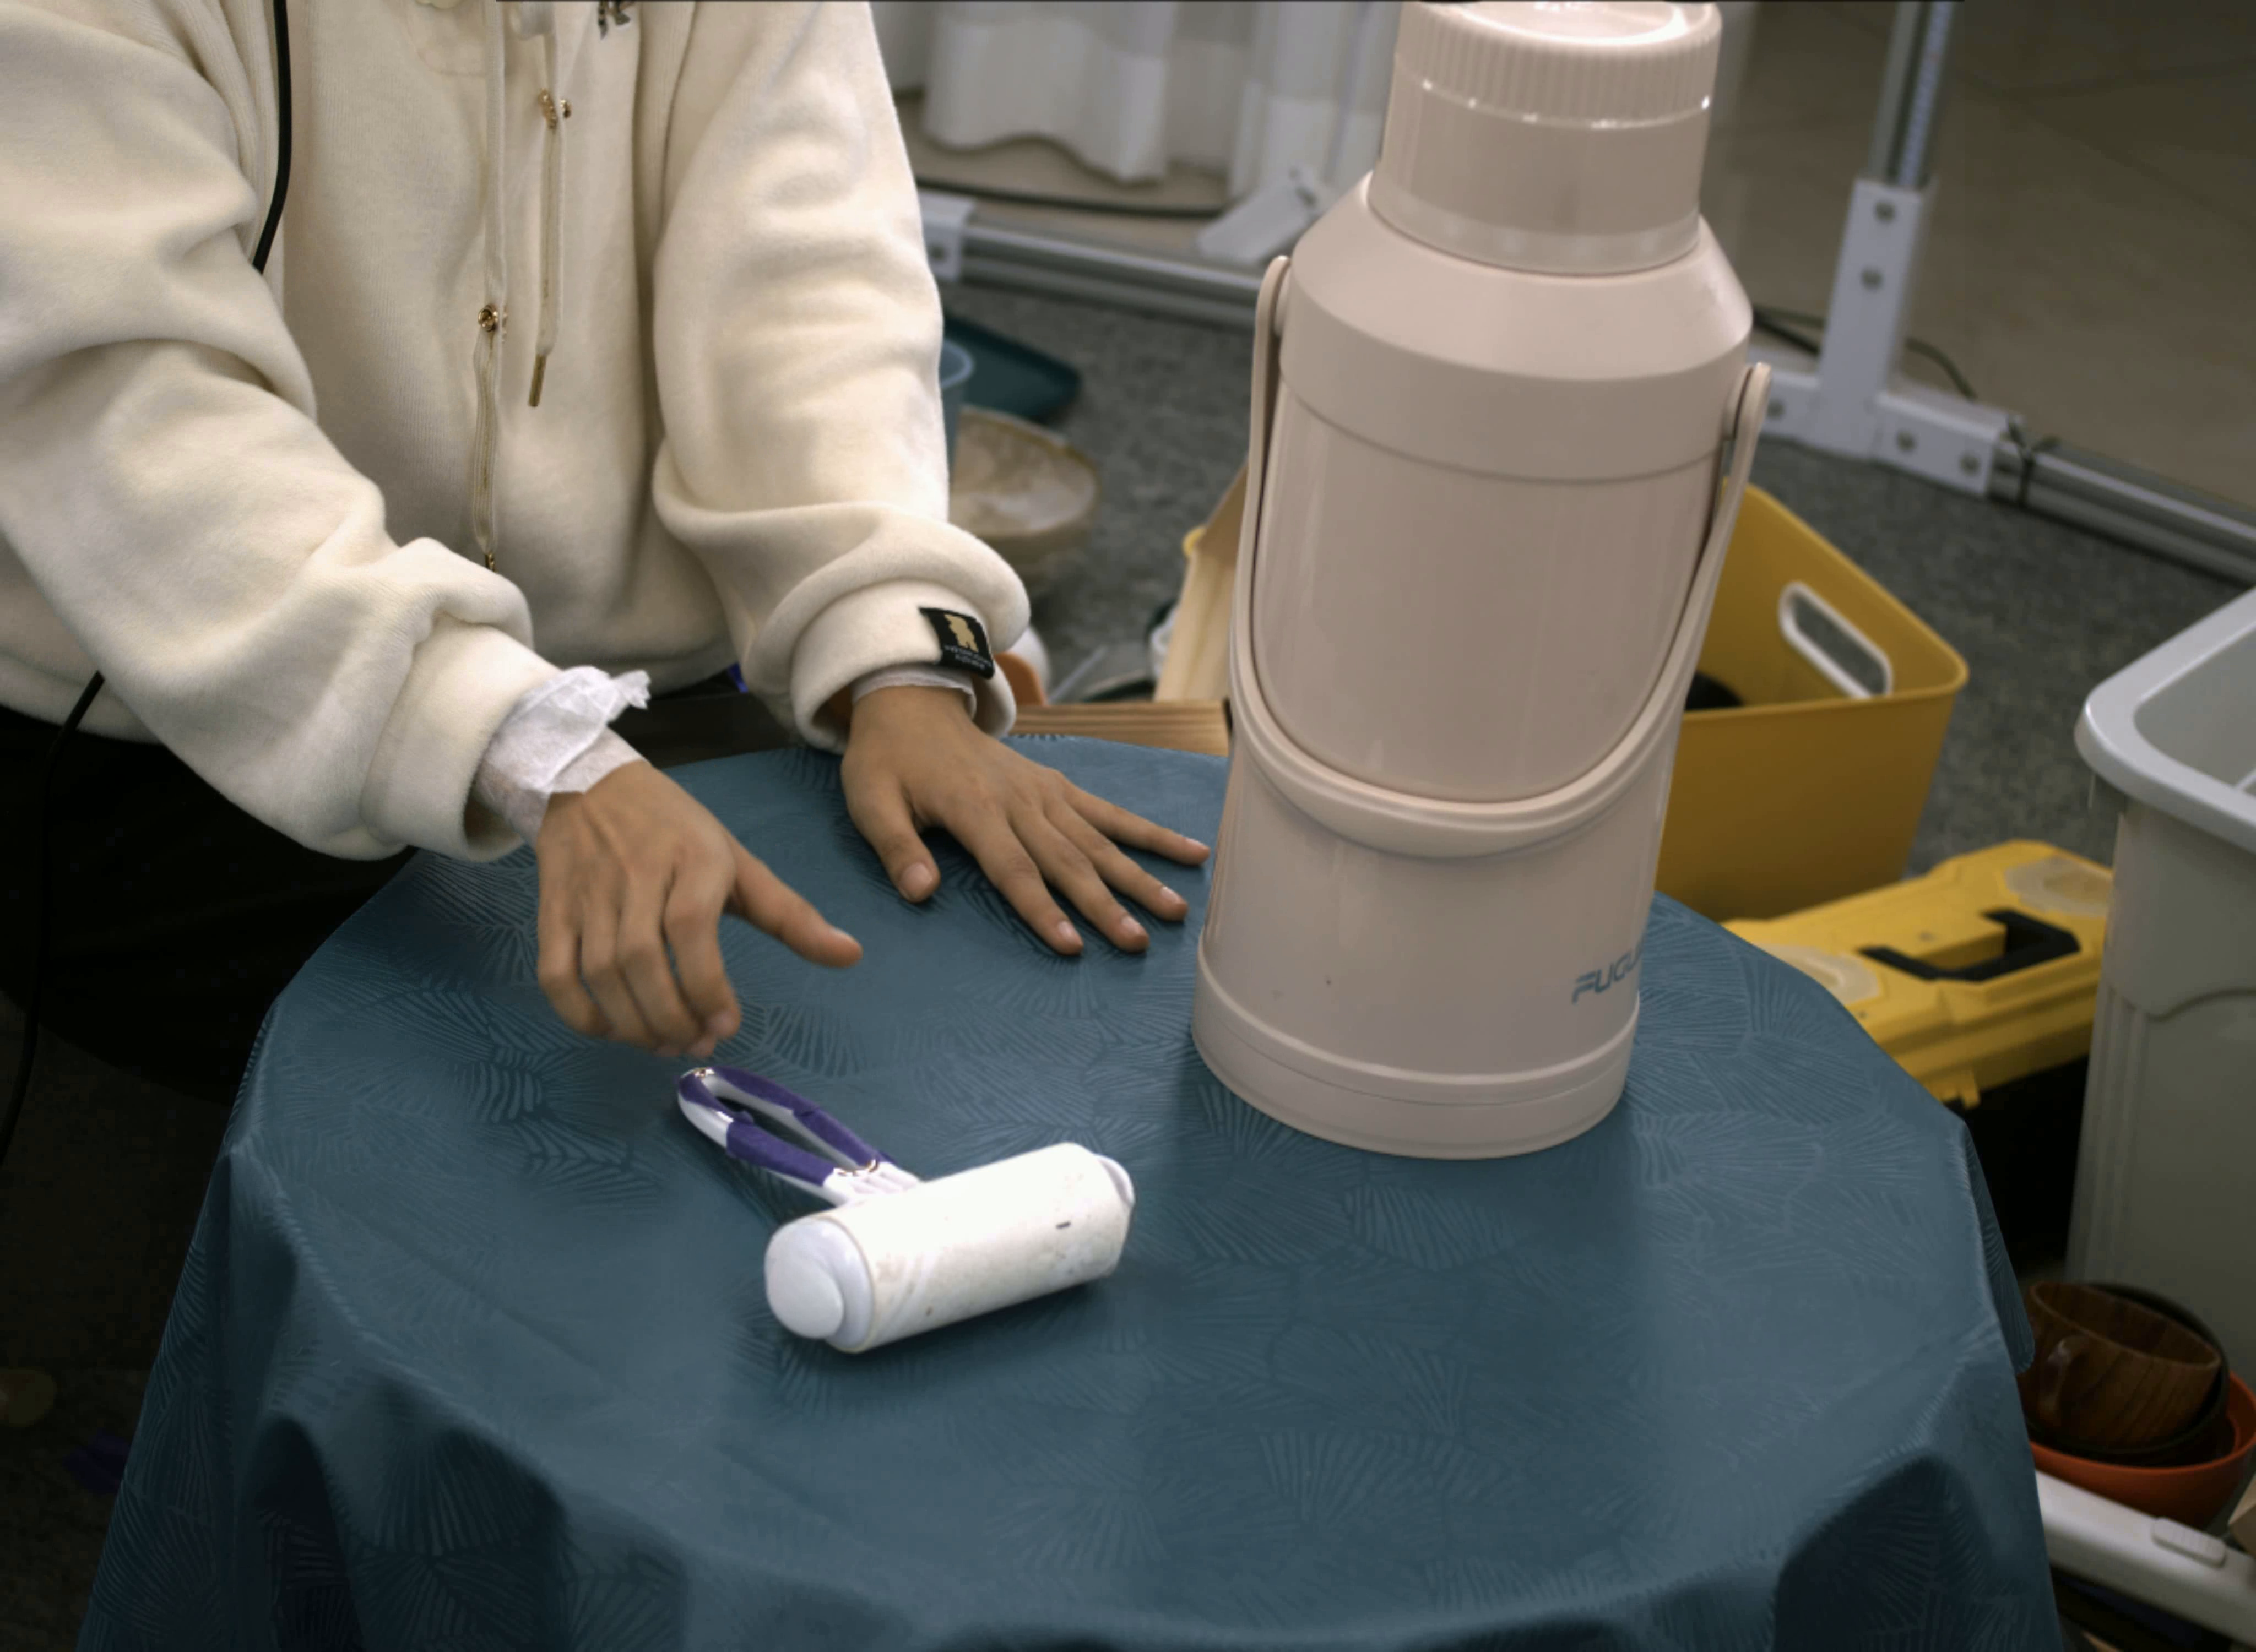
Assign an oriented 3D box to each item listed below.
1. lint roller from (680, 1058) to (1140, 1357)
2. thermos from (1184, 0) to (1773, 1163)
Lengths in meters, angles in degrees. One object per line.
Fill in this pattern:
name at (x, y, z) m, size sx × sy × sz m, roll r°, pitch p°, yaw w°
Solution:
lint roller at (-0.091, 0.107, 1.761) m, size 0.132 × 0.050 × 0.182 m, roll -13°, pitch 35°, yaw -33°
thermos at (0.126, -0.100, 1.834) m, size 0.175 × 0.405 × 0.207 m, roll 13°, pitch 27°, yaw 14°
